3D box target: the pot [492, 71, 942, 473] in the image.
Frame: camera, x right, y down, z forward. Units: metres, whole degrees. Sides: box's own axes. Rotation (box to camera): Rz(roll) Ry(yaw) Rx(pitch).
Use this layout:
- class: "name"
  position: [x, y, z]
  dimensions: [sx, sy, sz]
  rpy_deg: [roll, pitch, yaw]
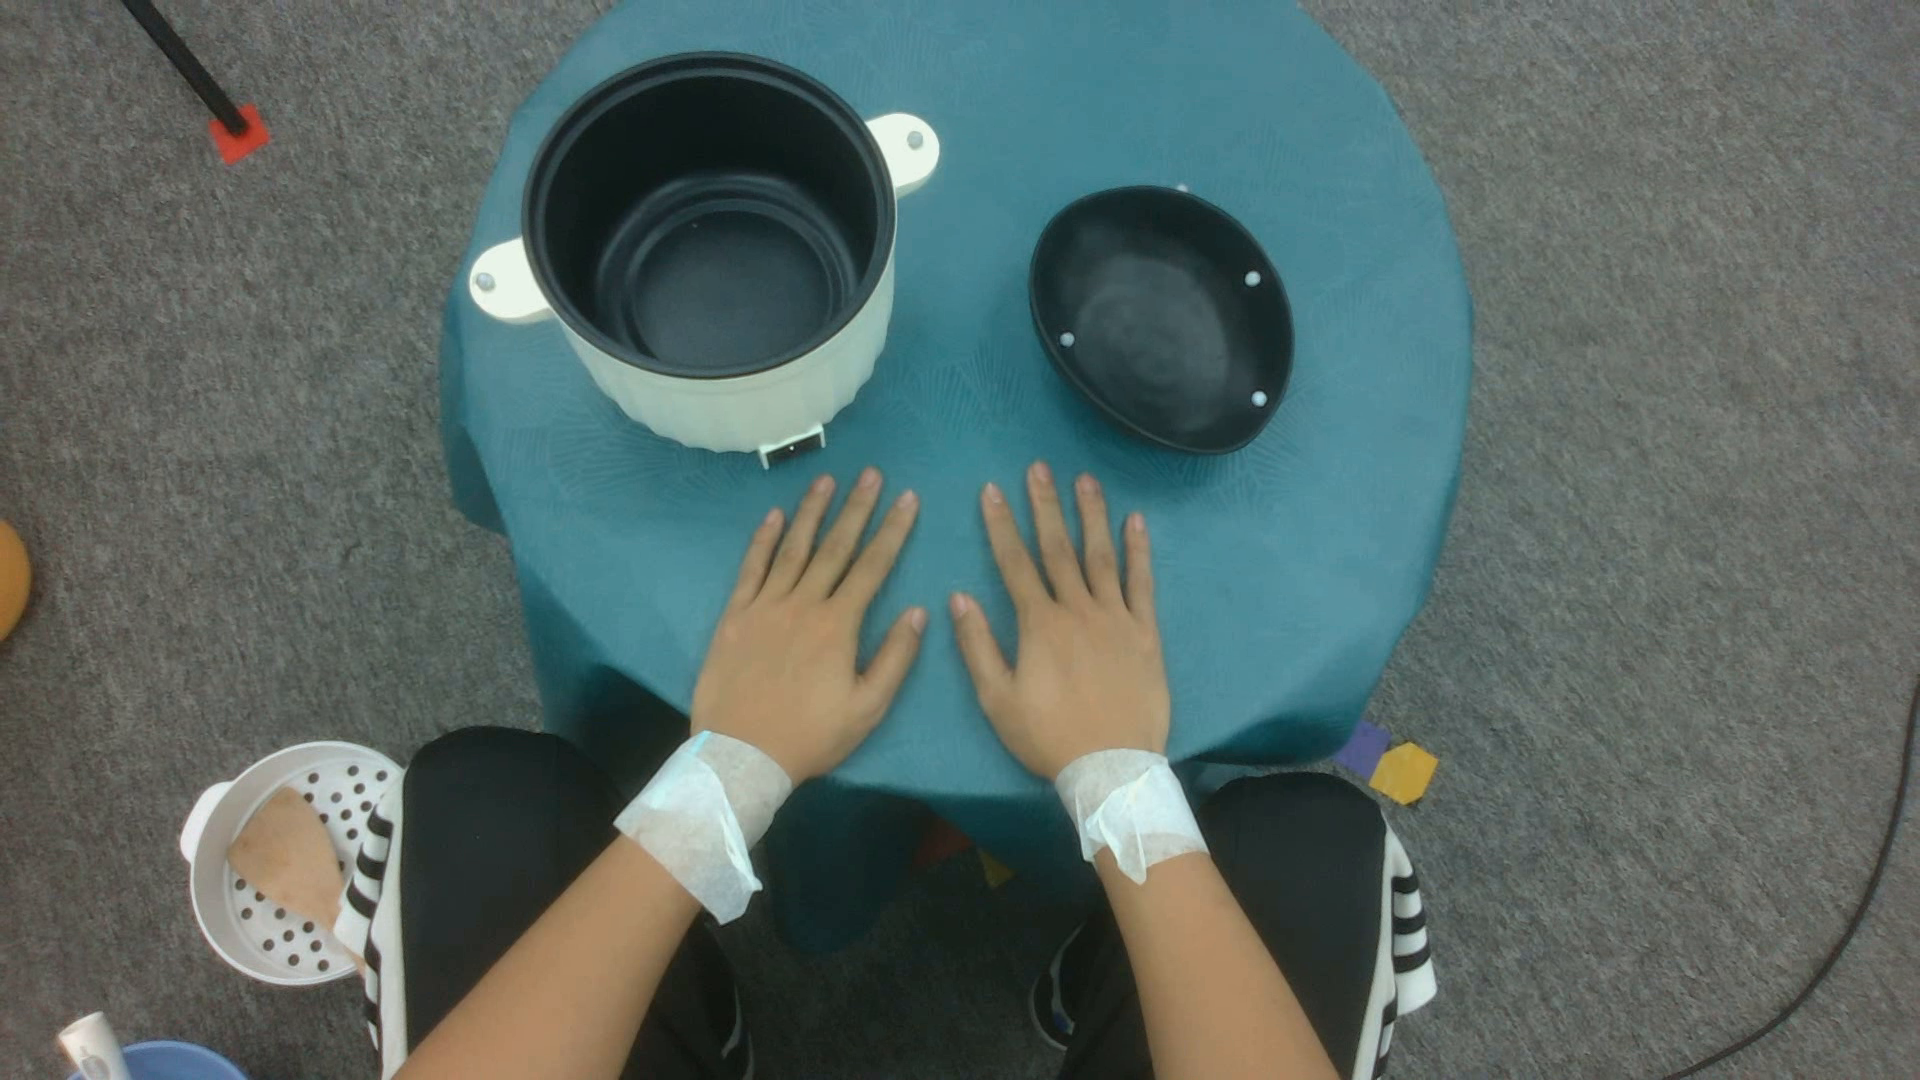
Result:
- class: "pot"
  position: [-0.126, -0.143, 0.756]
  dimensions: [0.241, 0.142, 0.191]
  rpy_deg: [-23, 77, -10]

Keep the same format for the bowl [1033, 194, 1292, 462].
- class: "bowl"
  position: [0.115, -0.116, 0.797]
  dimensions: [0.137, 0.066, 0.170]
  rpy_deg: [-33, 77, -11]
